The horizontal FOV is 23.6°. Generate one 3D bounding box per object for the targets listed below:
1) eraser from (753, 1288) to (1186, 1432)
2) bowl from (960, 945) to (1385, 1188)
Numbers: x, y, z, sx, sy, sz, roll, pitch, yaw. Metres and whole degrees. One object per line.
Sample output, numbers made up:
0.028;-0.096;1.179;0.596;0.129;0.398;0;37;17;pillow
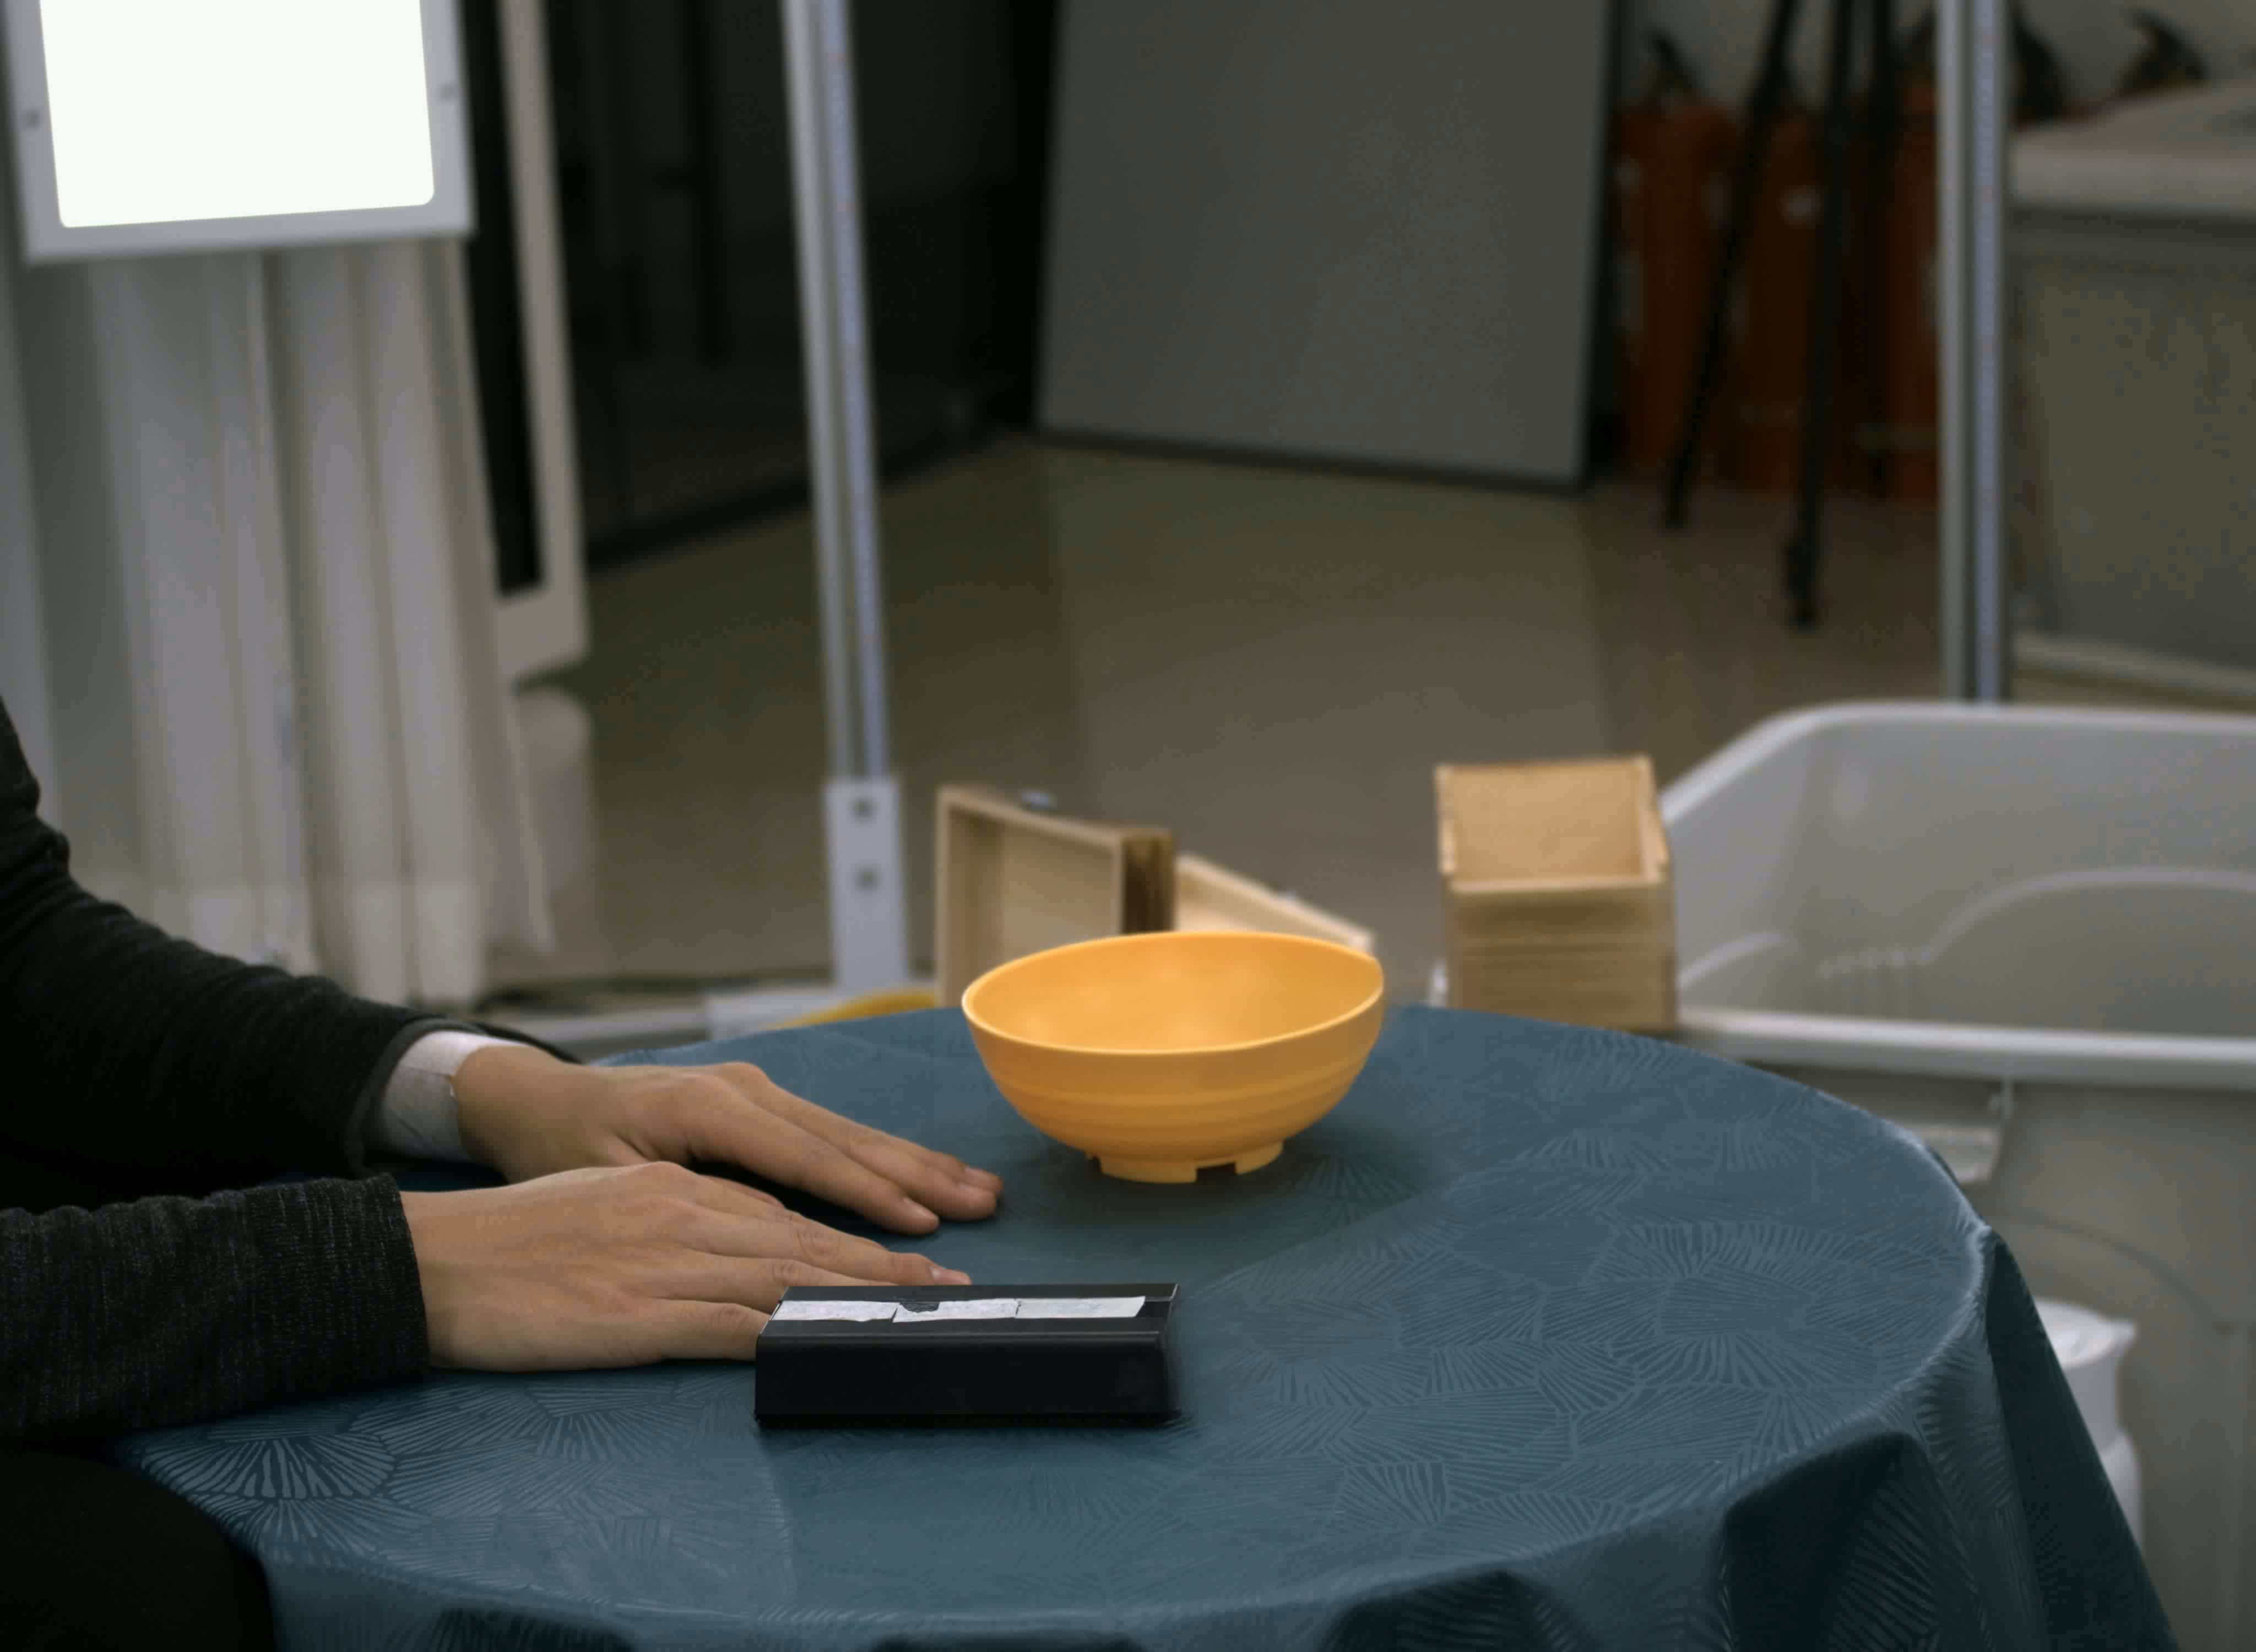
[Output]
-0.044;0.156;1.581;0.124;0.031;0.053;-2;10;9;eraser
0.017;0.083;1.796;0.143;0.061;0.145;-5;11;0;bowl
